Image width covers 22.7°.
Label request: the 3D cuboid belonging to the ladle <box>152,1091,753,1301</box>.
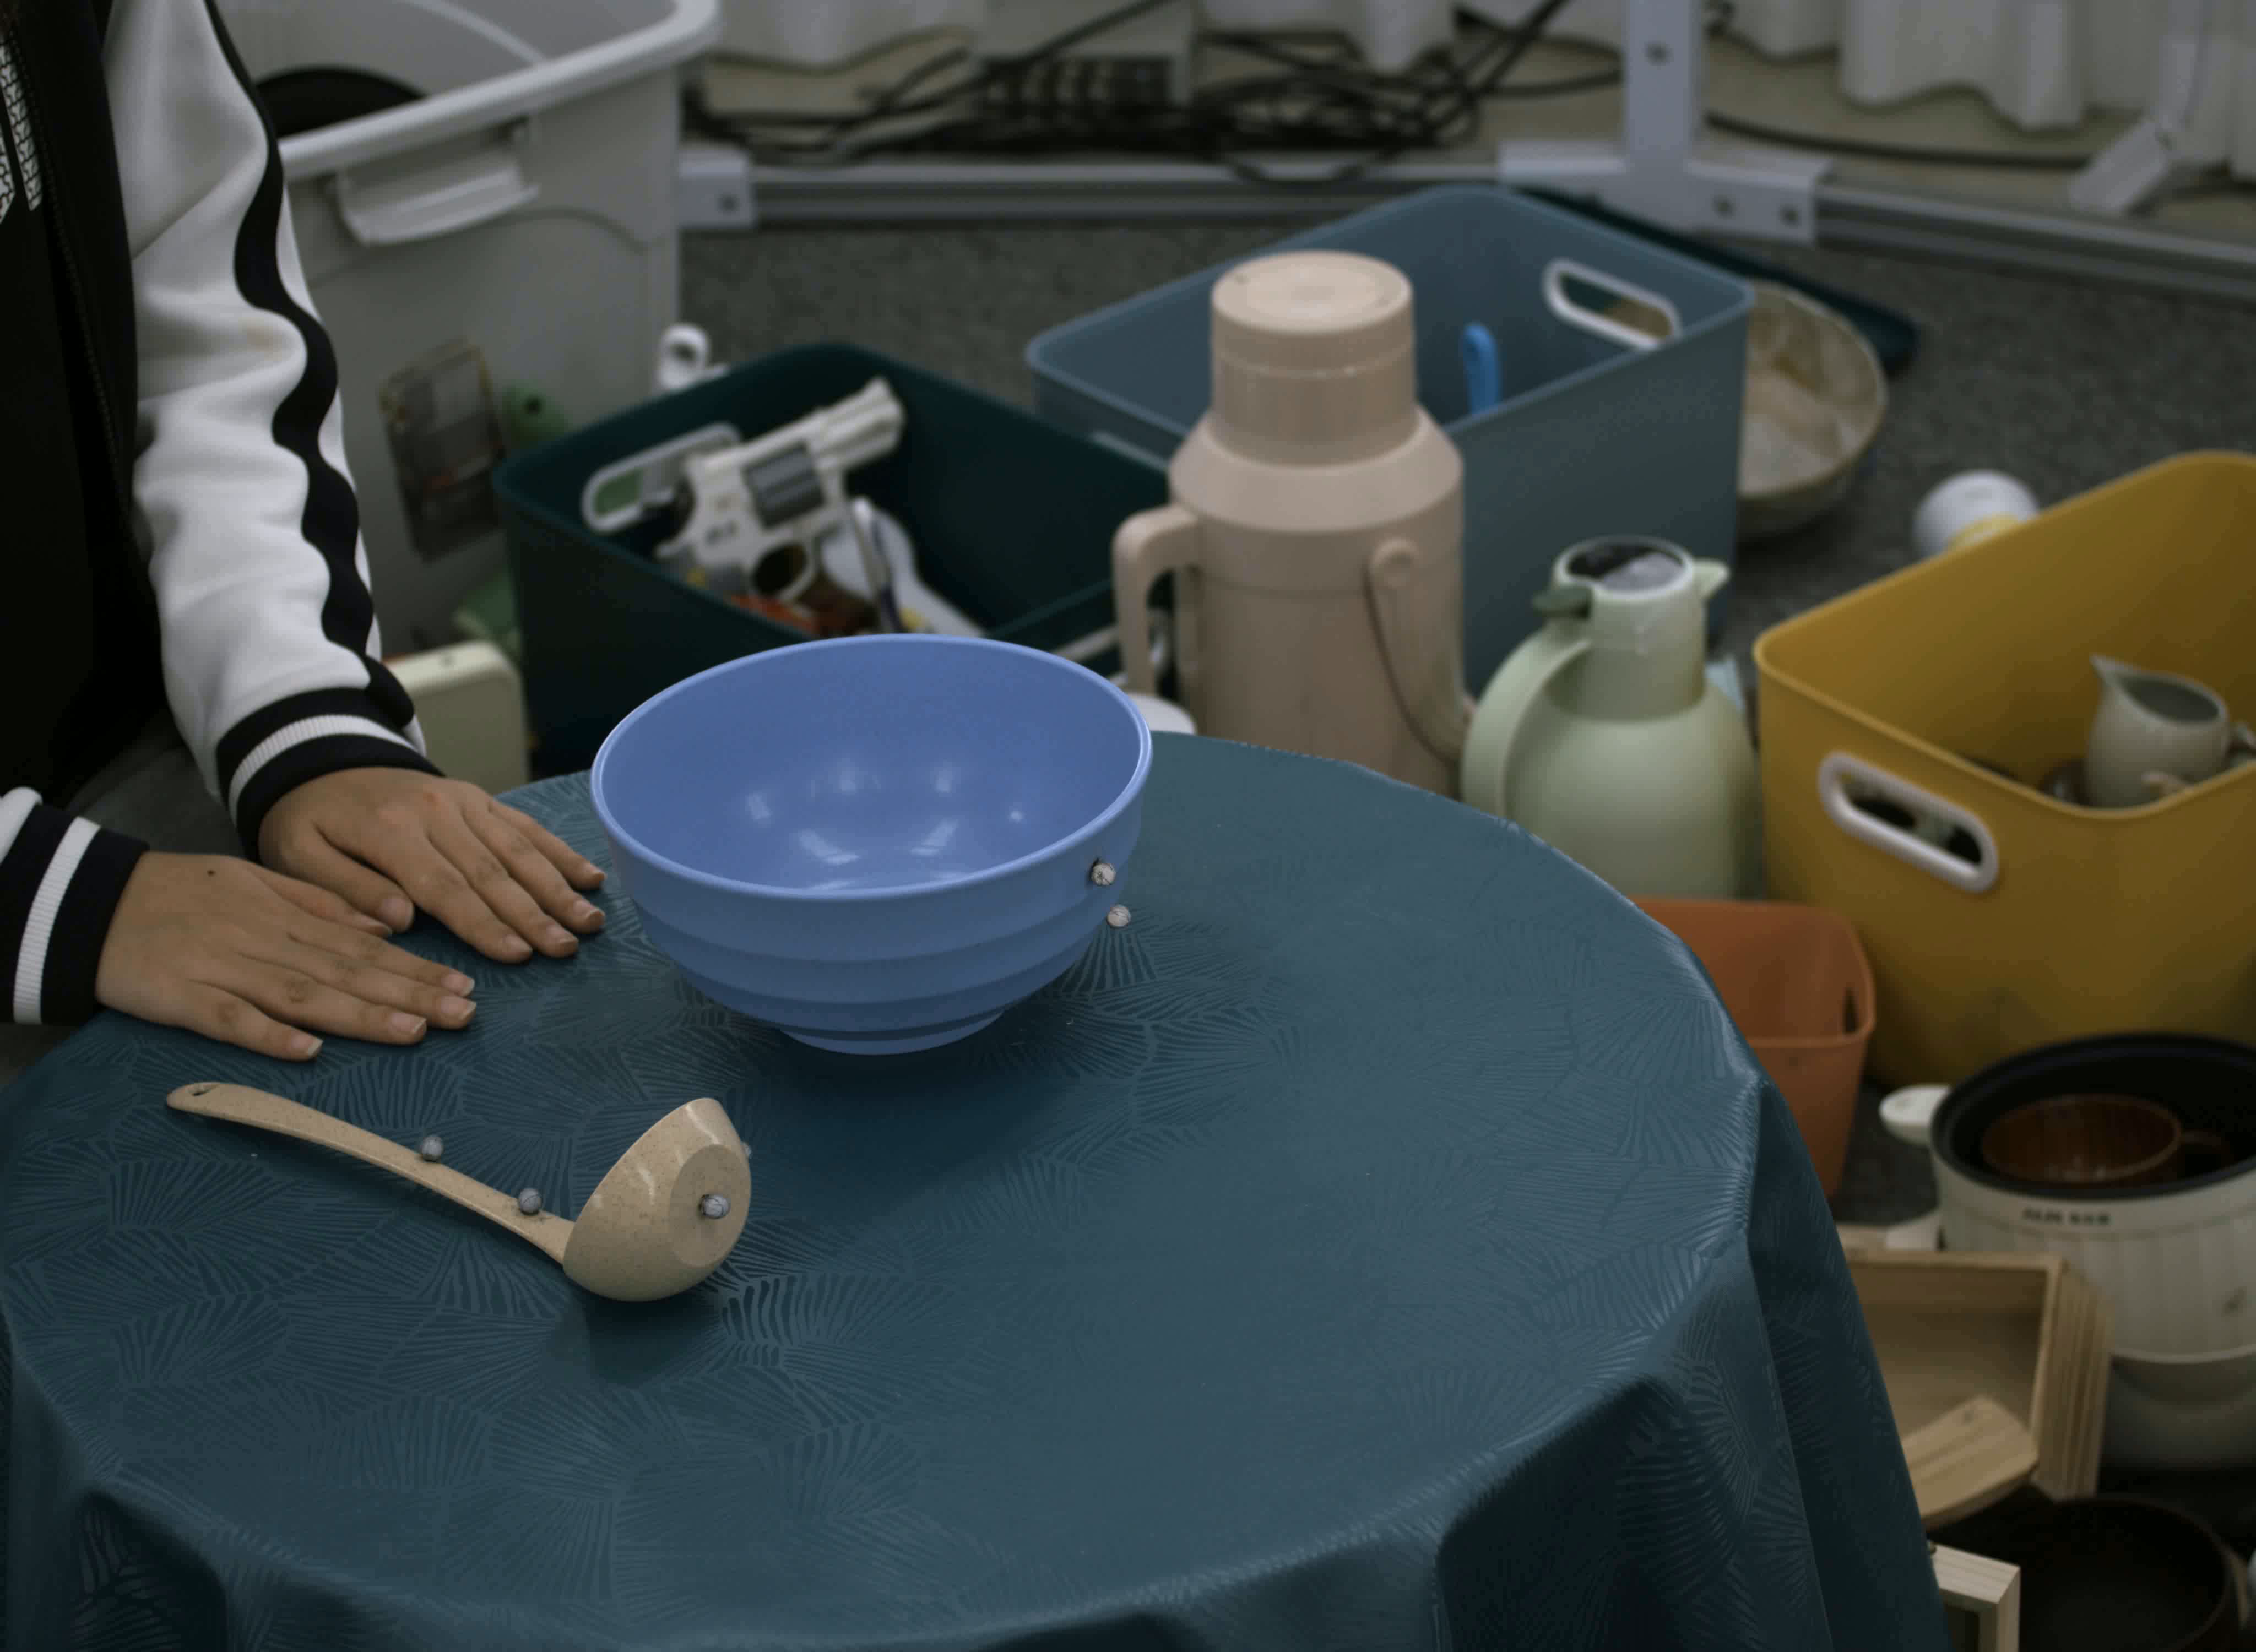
[{"bbox_3d":[-0.233,0.095,1.858,0.253,0.072,0.073,16,31,32],"label":"ladle"}]

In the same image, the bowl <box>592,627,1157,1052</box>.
[{"bbox_3d":[-0.087,0.016,1.970,0.195,0.094,0.199,0,28,0],"label":"bowl"}]
